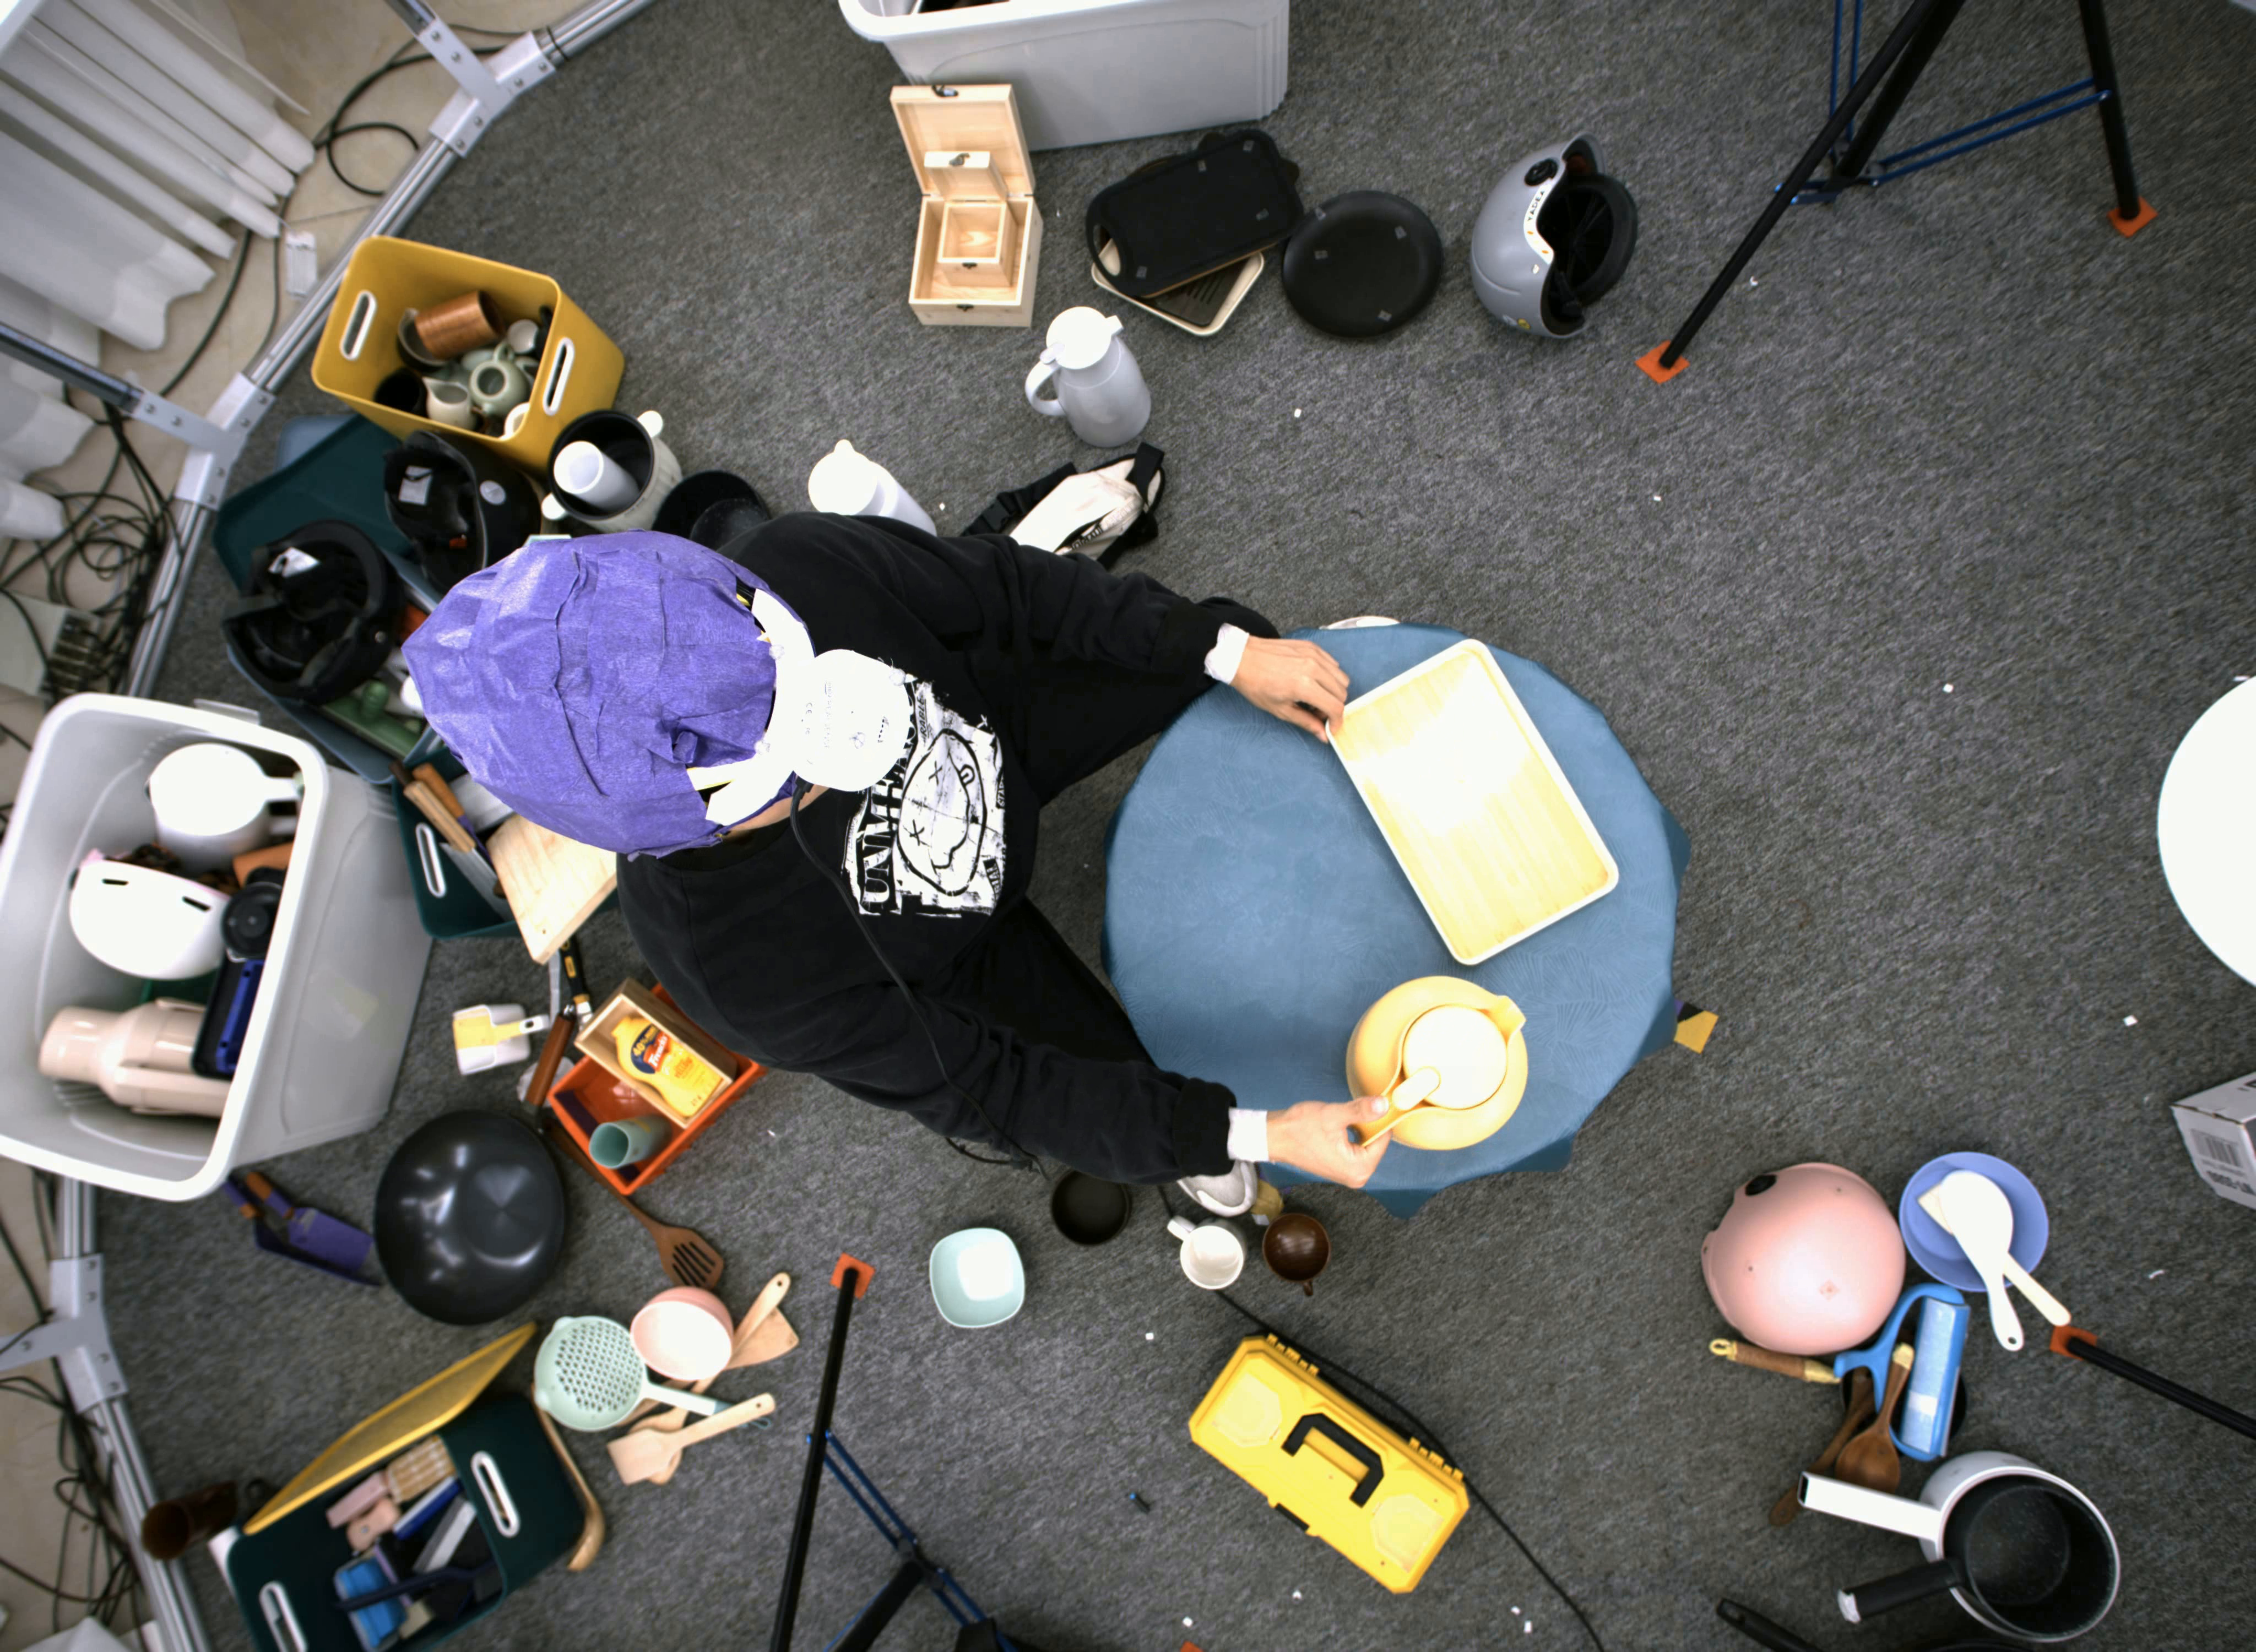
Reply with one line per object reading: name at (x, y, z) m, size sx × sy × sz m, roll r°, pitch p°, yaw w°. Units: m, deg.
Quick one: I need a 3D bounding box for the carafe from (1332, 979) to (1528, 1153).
carafe at (0.279, 0.236, 1.314) m, size 0.202 × 0.262 × 0.162 m, roll -35°, pitch 76°, yaw -1°

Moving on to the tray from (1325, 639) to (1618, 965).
tray at (0.355, -0.027, 1.431) m, size 0.192 × 0.027 × 0.298 m, roll -29°, pitch 83°, yaw 6°
